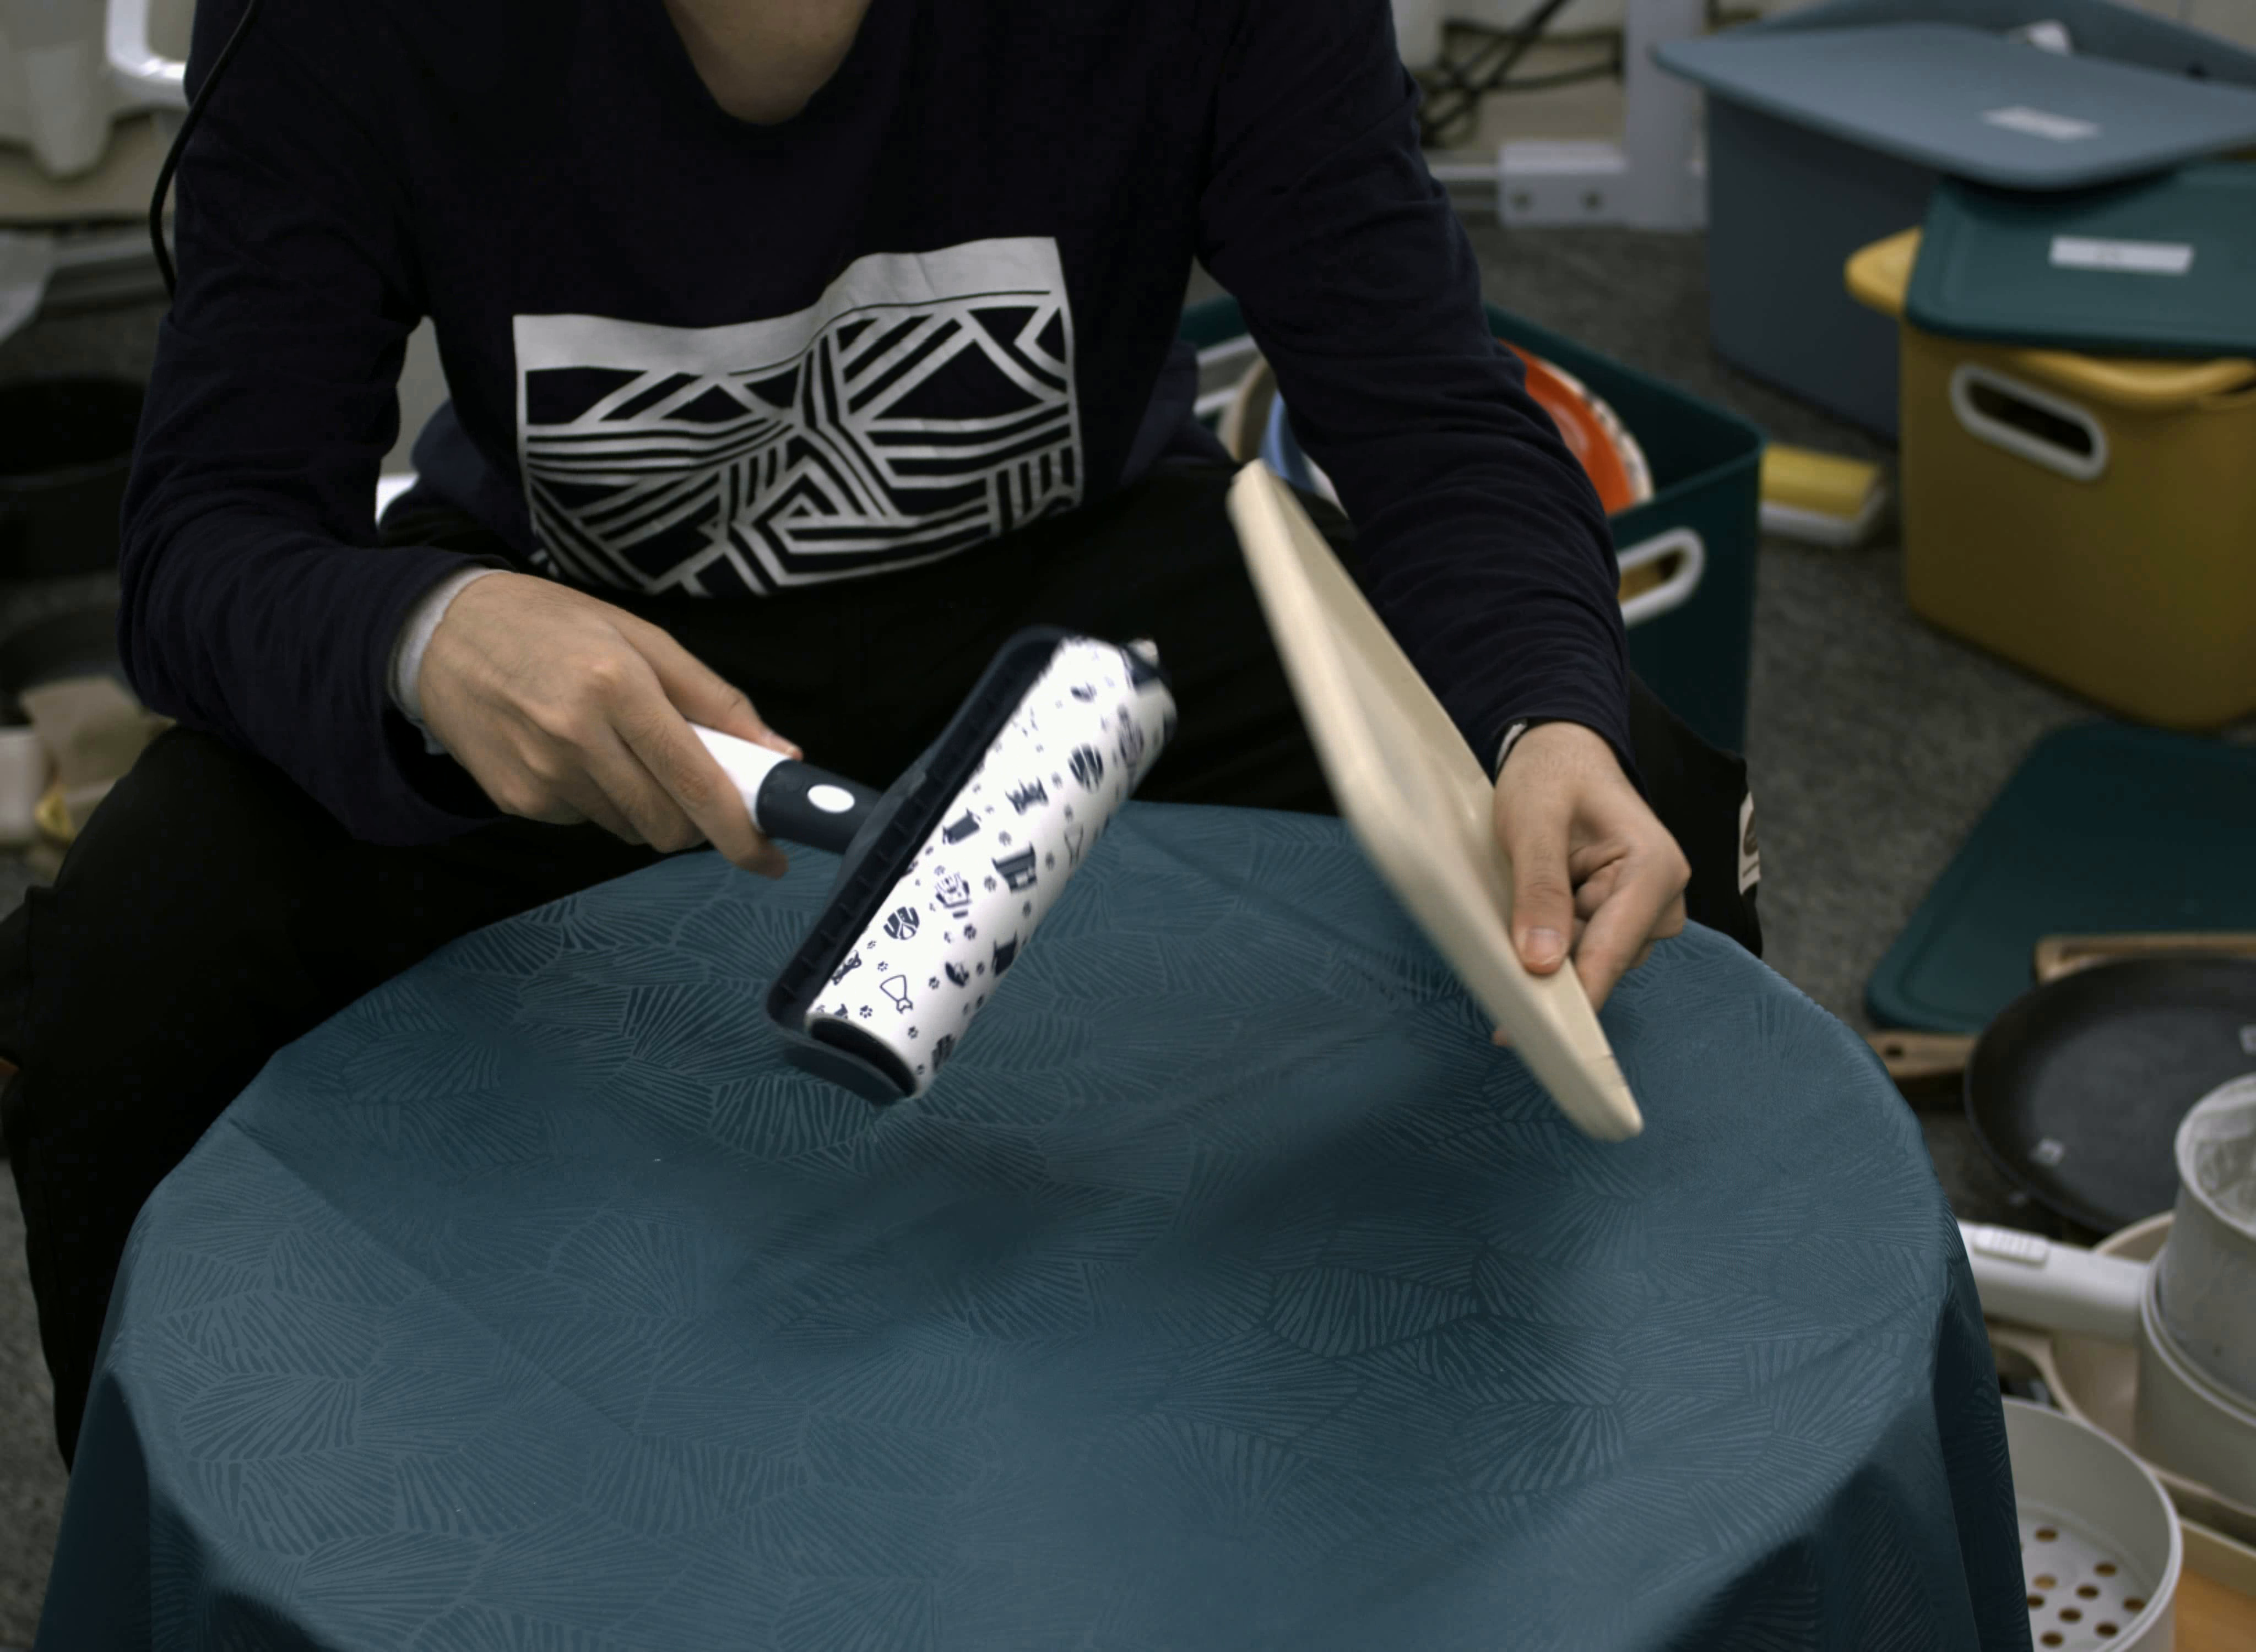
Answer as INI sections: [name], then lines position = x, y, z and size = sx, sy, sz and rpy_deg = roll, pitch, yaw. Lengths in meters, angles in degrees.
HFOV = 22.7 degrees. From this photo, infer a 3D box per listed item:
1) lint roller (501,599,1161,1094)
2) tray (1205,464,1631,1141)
[lint roller]
position = -0.124, -0.014, 1.886
size = 0.246, 0.050, 0.179
rpy_deg = 15, 65, 35
[tray]
position = 0.088, -0.008, 1.795
size = 0.017, 0.170, 0.243
rpy_deg = -34, 31, 11
